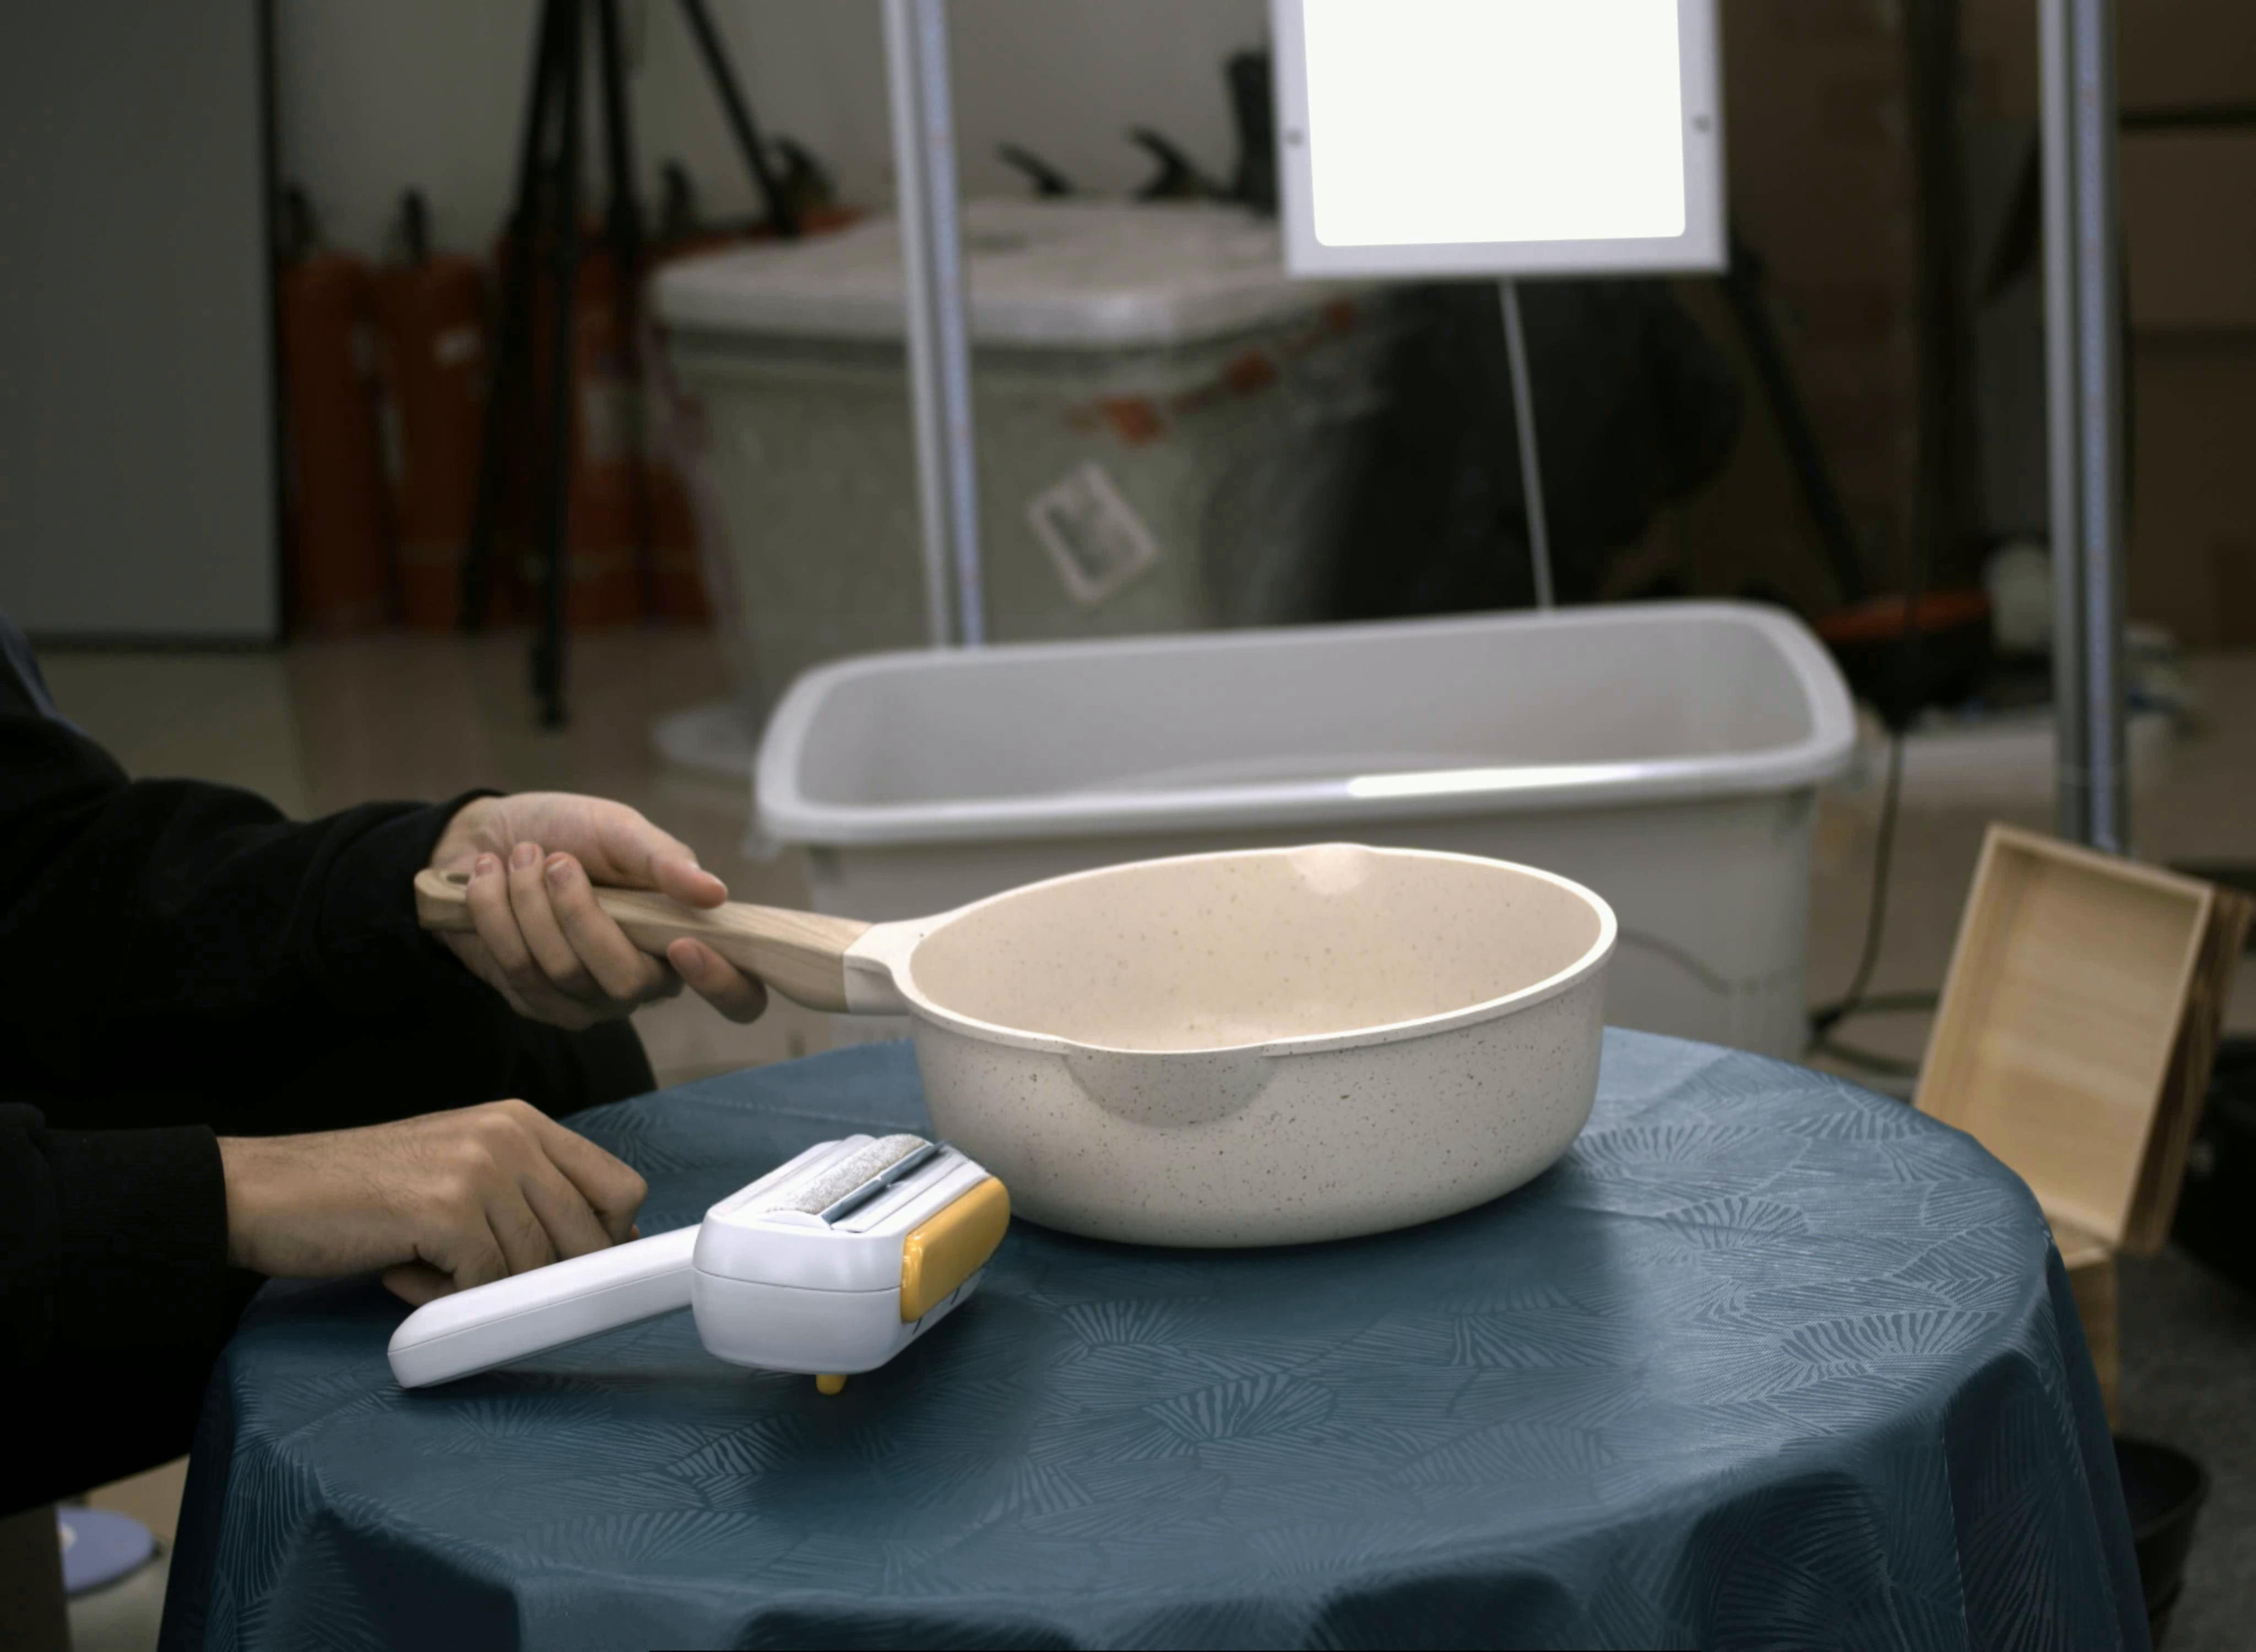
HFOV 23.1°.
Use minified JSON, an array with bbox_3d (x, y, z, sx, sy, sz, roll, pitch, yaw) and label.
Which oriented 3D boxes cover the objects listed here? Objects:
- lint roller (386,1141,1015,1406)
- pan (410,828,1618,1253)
[{"bbox_3d":[-0.144,0.144,1.737,0.194,0.074,0.190,-3,8,15],"label":"lint roller"},{"bbox_3d":[-0.042,0.070,1.931,0.440,0.102,0.259,-1,17,17],"label":"pan"}]
